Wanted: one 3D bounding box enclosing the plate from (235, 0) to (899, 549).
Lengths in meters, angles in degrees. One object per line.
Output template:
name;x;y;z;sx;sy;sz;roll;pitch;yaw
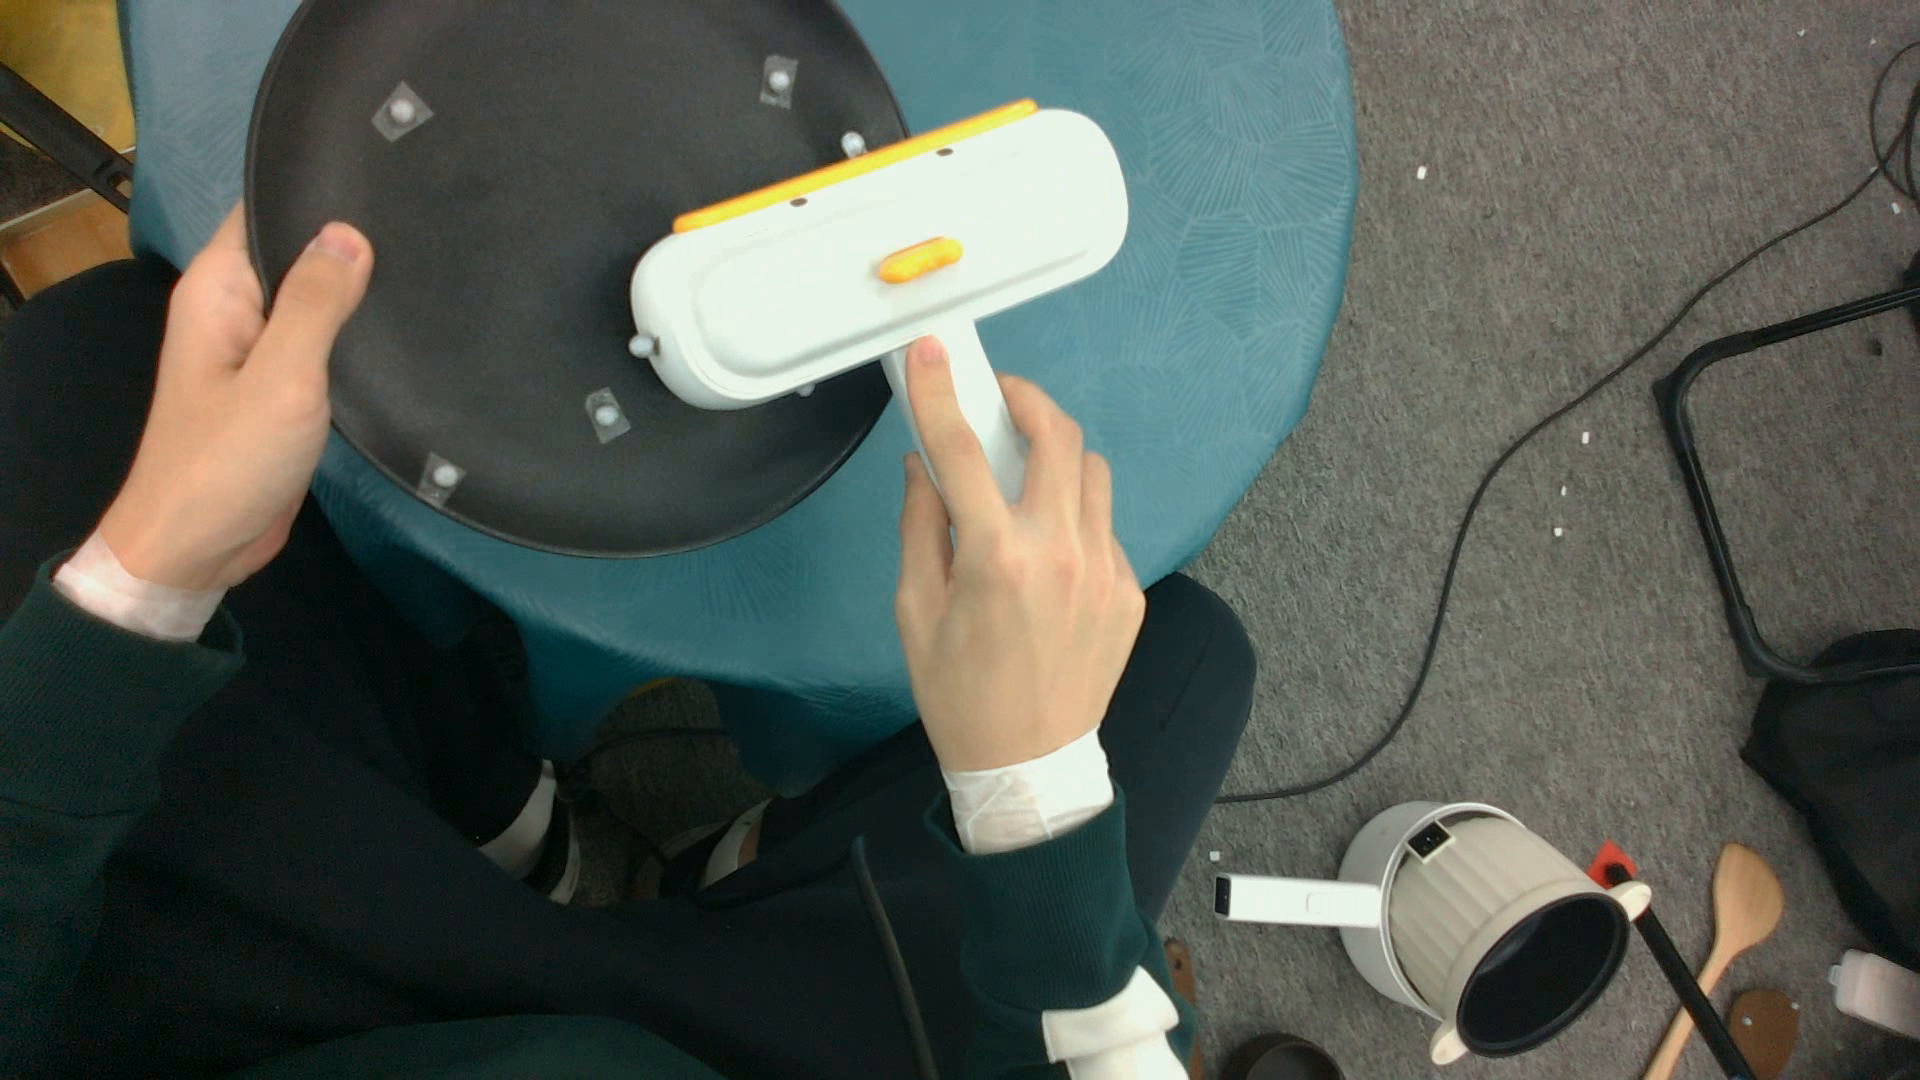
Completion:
plate;-0.133;-0.118;0.514;0.245;0.023;0.244;-3;96;-25

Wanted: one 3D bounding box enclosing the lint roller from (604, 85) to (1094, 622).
lint roller;-0.011;-0.058;0.521;0.193;0.074;0.192;-29;102;-20
